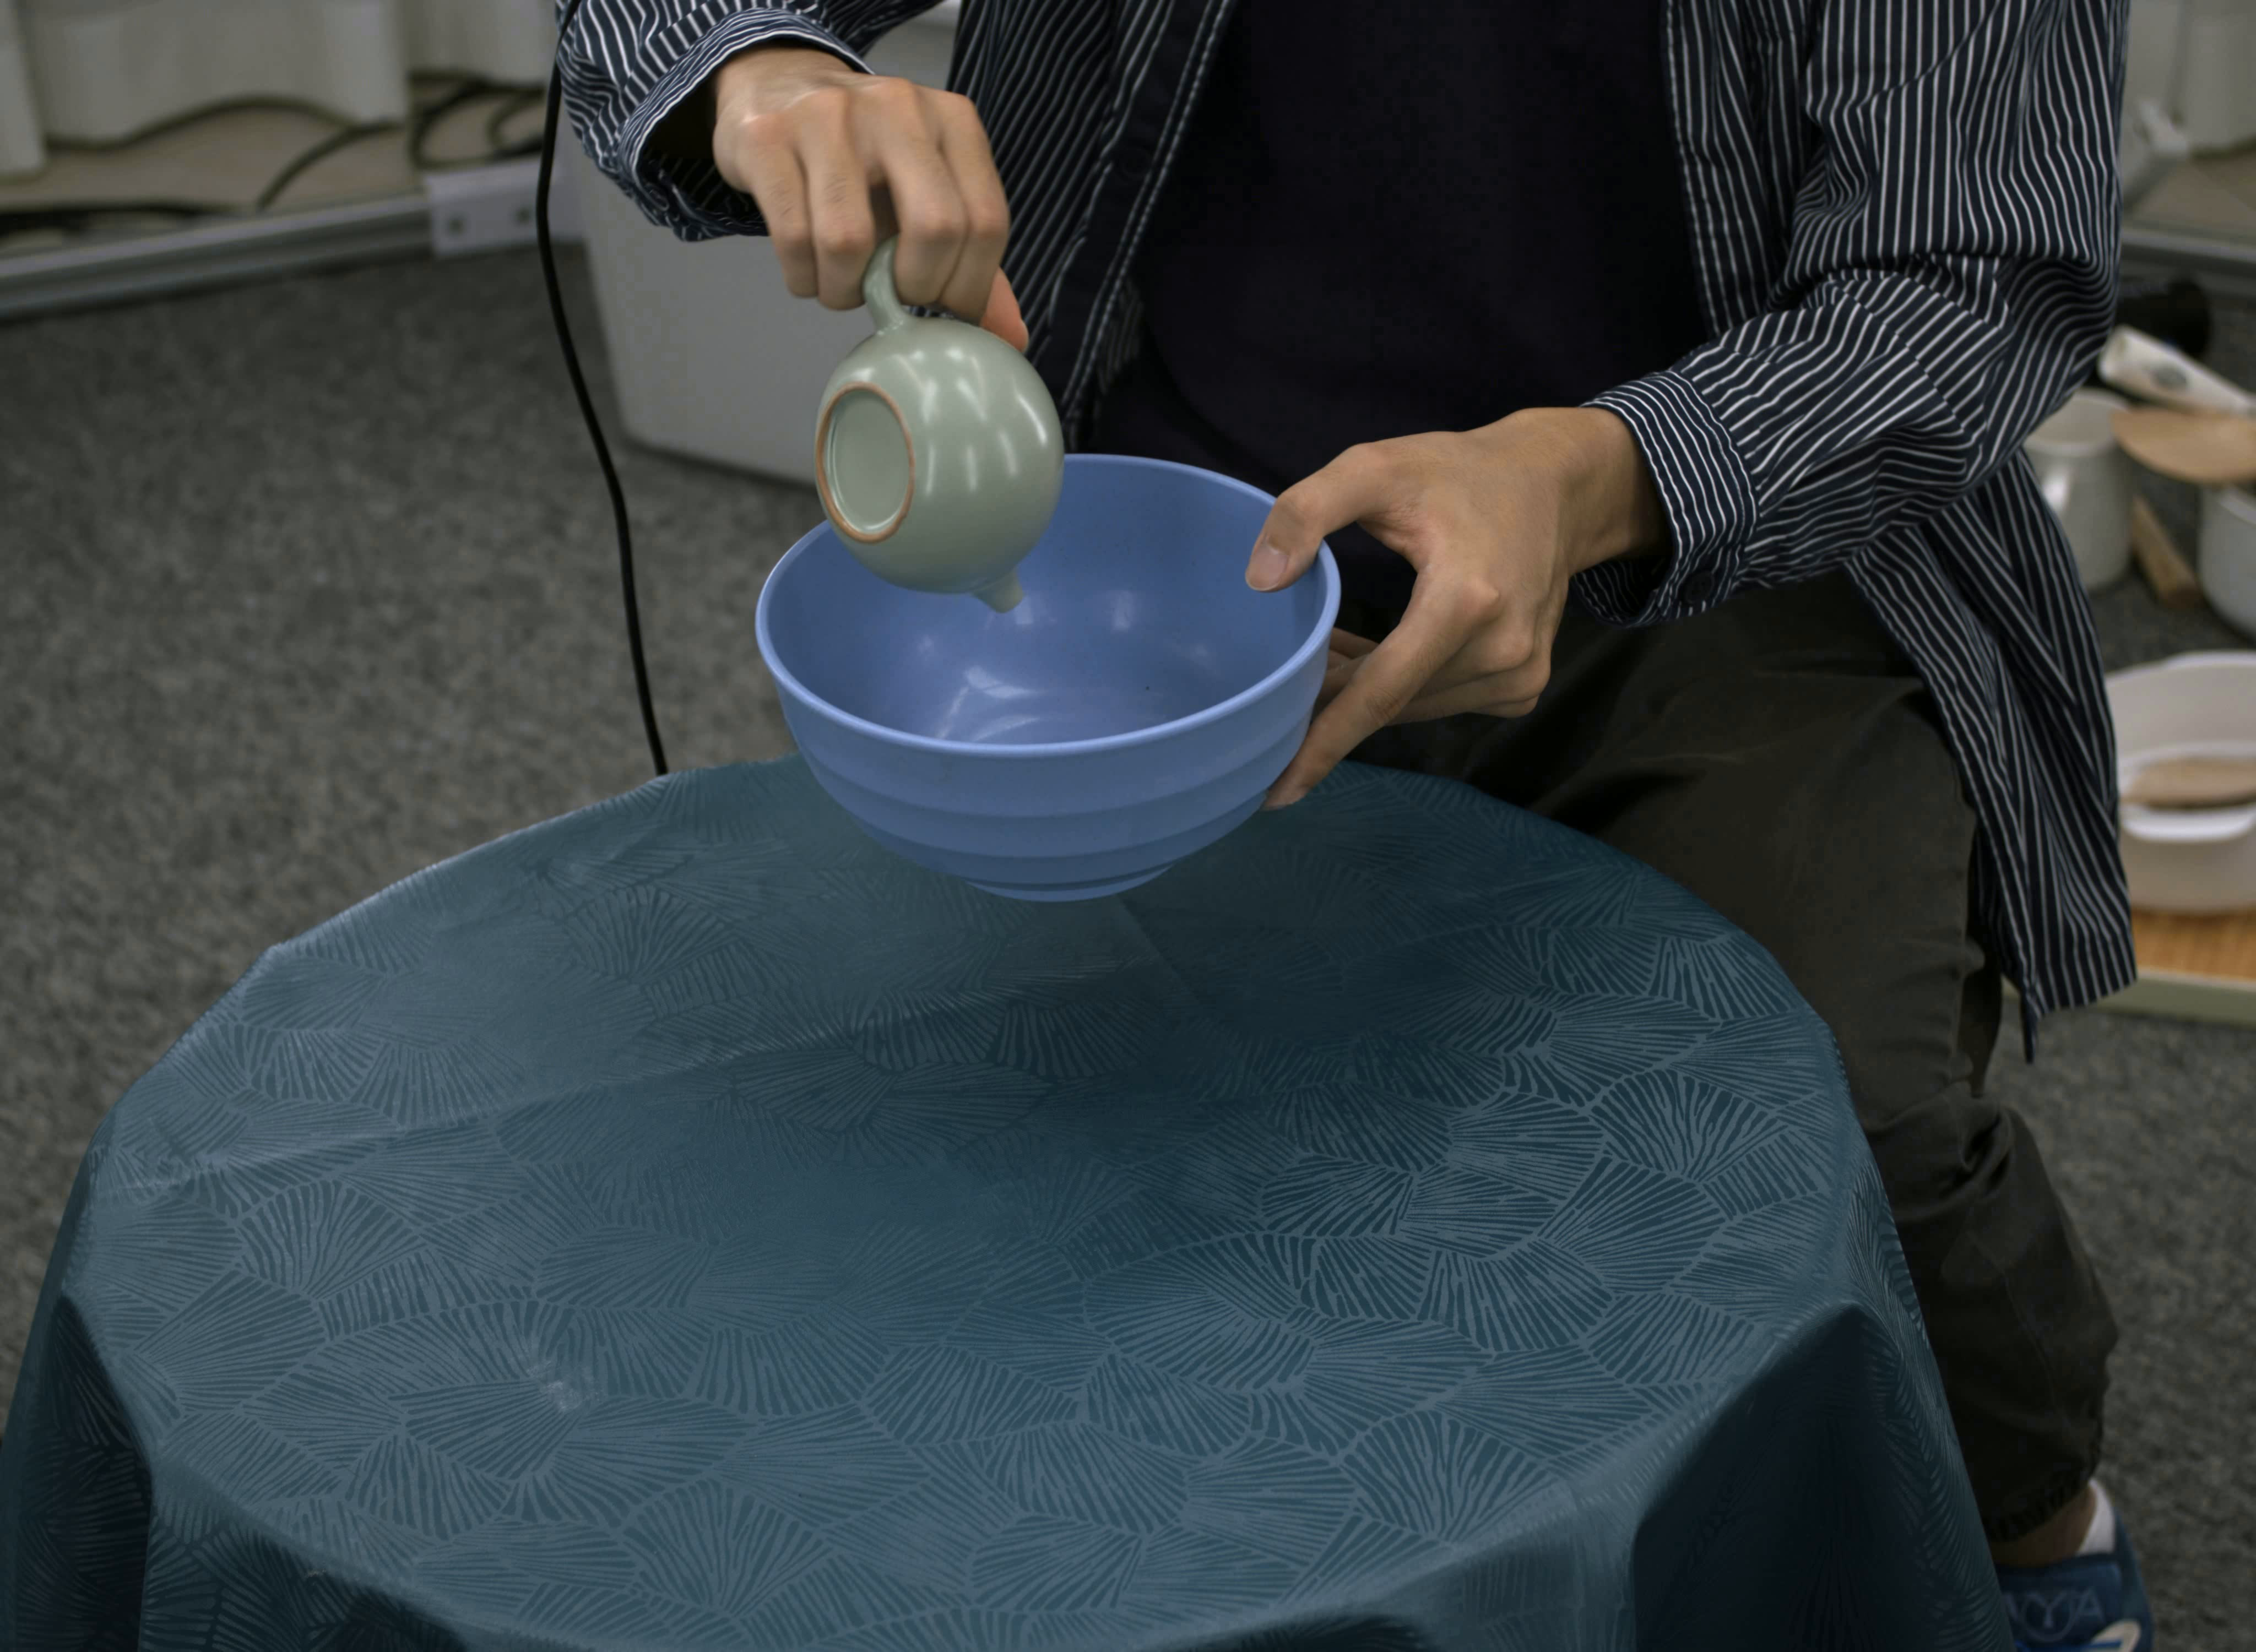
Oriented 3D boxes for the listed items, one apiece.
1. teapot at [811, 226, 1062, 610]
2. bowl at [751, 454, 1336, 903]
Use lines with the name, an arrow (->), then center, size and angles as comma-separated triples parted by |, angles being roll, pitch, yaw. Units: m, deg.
teapot -> -0.065, -0.133, 1.848 | 0.061, 0.129, 0.090 | -7, -2, -38
bowl -> -0.025, -0.038, 1.899 | 0.195, 0.094, 0.200 | -3, 32, 2
